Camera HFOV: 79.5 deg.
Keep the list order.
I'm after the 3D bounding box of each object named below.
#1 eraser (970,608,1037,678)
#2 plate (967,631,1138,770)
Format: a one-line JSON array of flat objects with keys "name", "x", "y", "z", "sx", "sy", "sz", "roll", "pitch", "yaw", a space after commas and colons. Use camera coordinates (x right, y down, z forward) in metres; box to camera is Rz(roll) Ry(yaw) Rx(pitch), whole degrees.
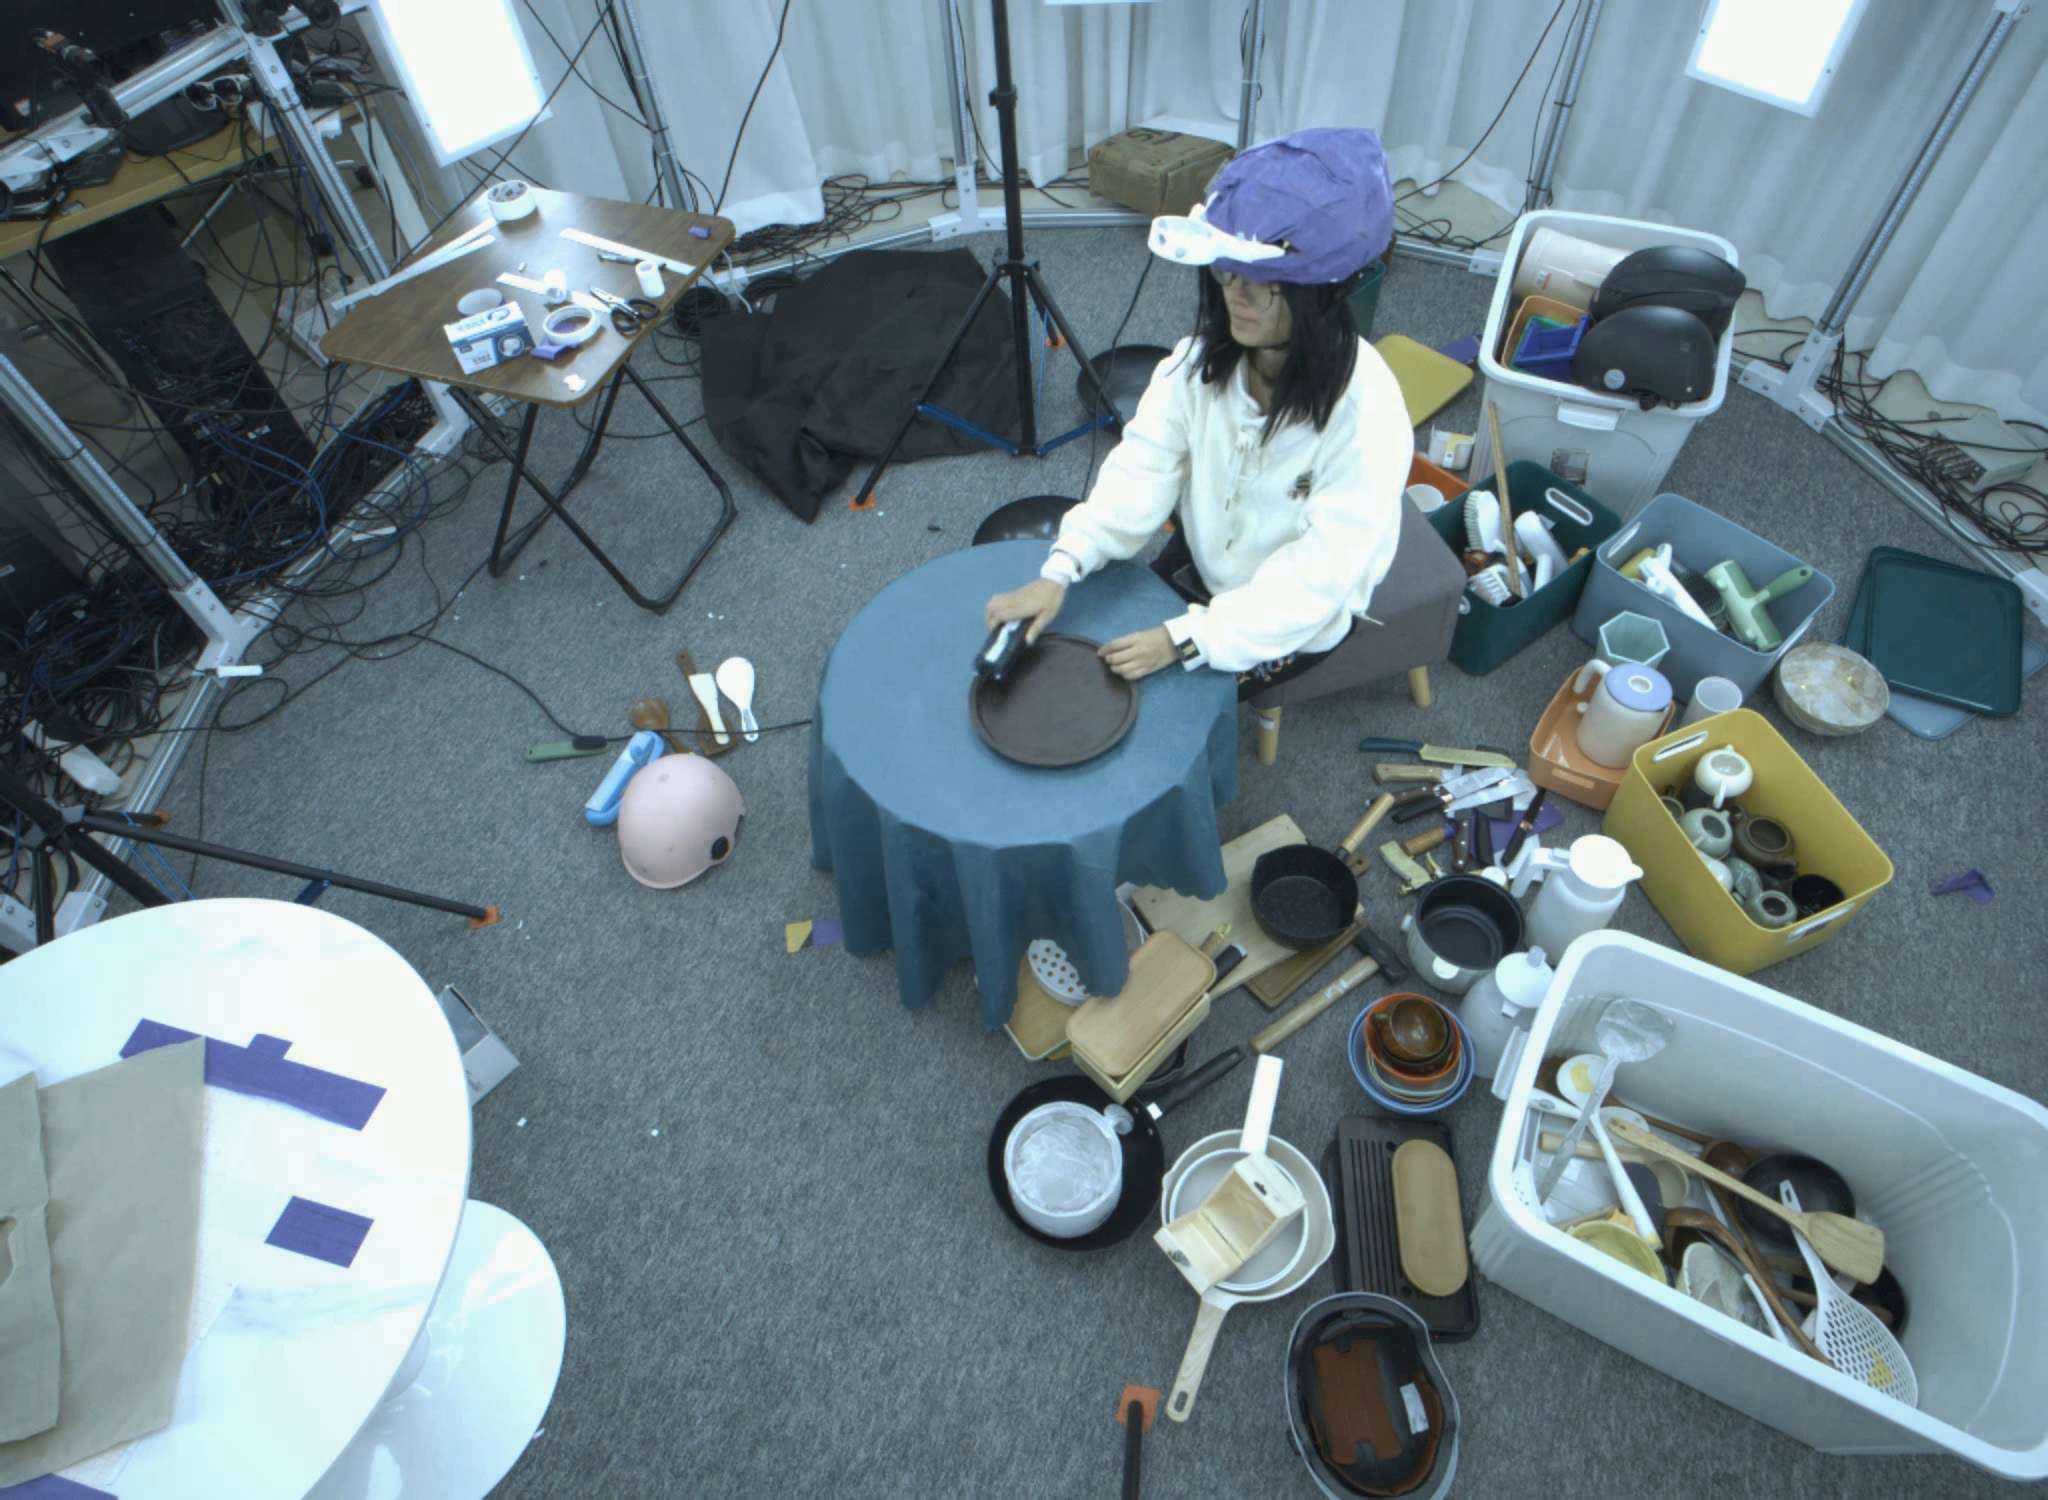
[{"name": "eraser", "x": -0.030, "y": -0.161, "z": 1.841, "sx": 0.053, "sy": 0.031, "sz": 0.126, "roll": 18, "pitch": 49, "yaw": 18}, {"name": "plate", "x": 0.042, "y": -0.074, "z": 1.824, "sx": 0.254, "sy": 0.029, "sz": 0.252, "roll": -1, "pitch": 55, "yaw": 3}]
